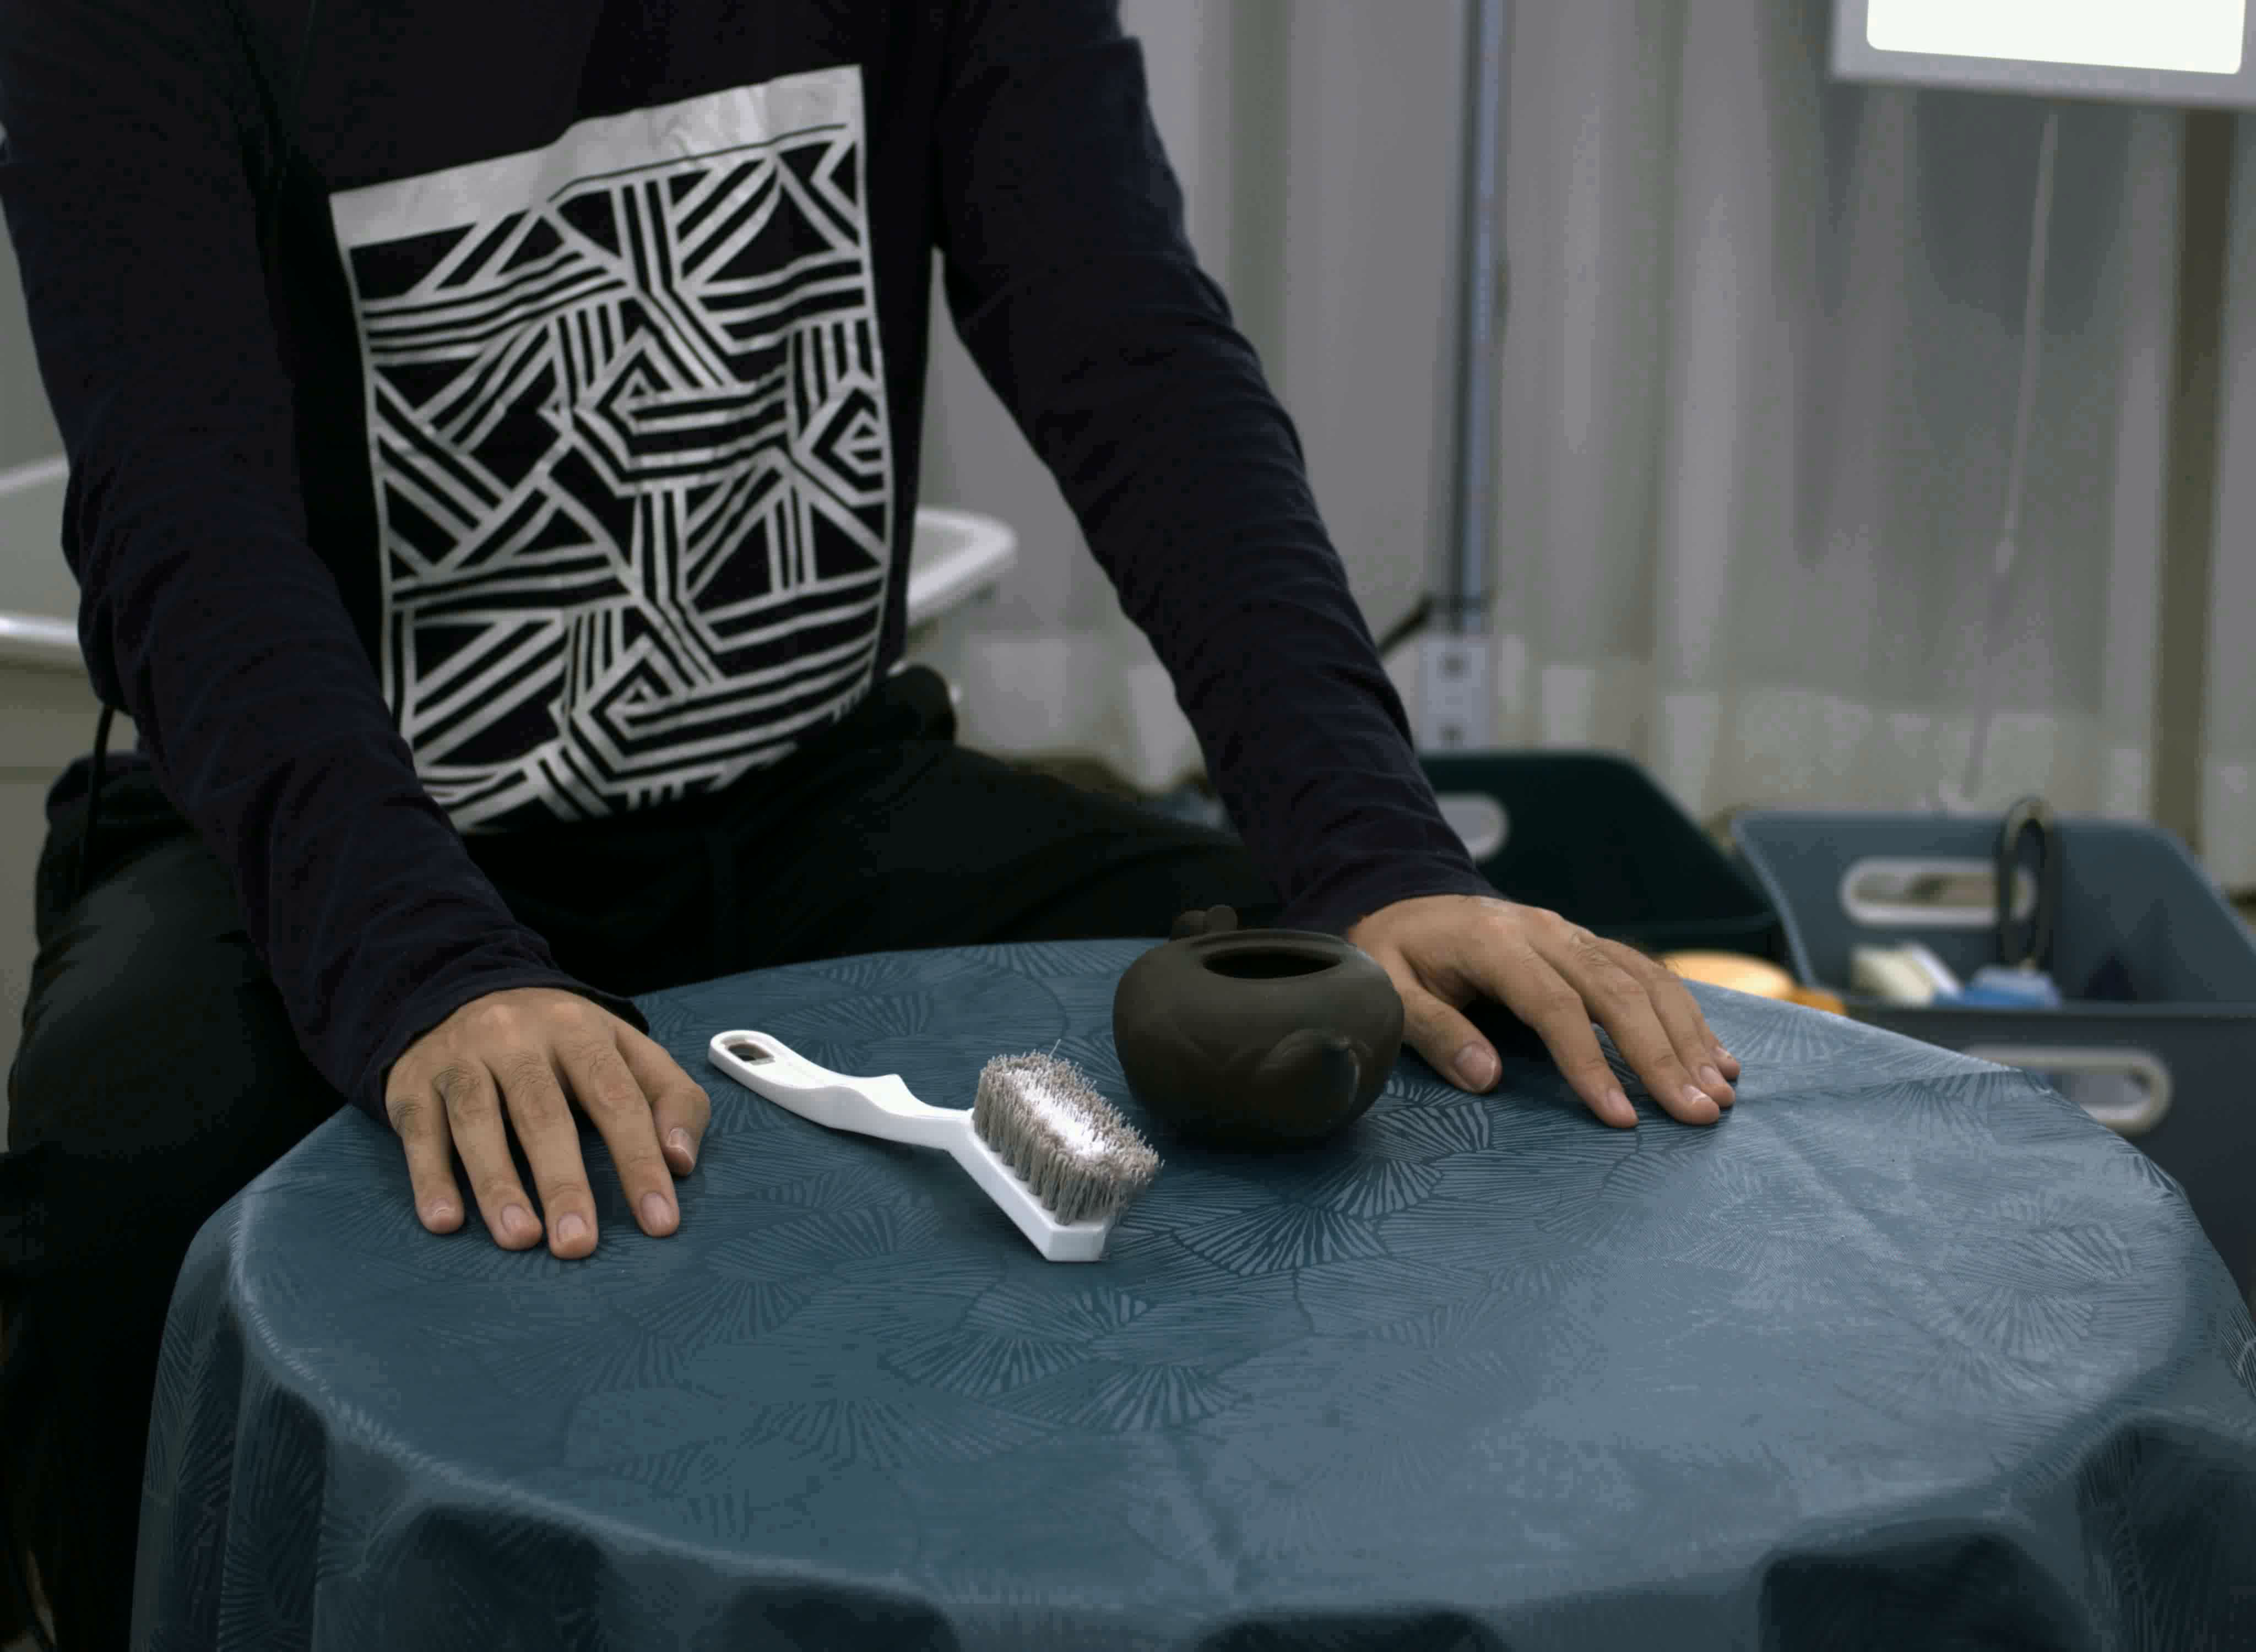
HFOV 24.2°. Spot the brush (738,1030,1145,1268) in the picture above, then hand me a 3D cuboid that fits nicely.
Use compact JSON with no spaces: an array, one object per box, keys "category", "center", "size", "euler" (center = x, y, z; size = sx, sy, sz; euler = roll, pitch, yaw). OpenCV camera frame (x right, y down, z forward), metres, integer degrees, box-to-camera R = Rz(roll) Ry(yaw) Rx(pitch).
[{"category":"brush","center":[-0.065,0.081,1.649],"size":[0.034,0.051,0.240],"euler":[-14,20,-27]}]

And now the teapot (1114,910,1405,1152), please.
[{"category":"teapot","center":[0.041,0.066,1.681],"size":[0.092,0.065,0.152],"euler":[-5,16,-16]}]
